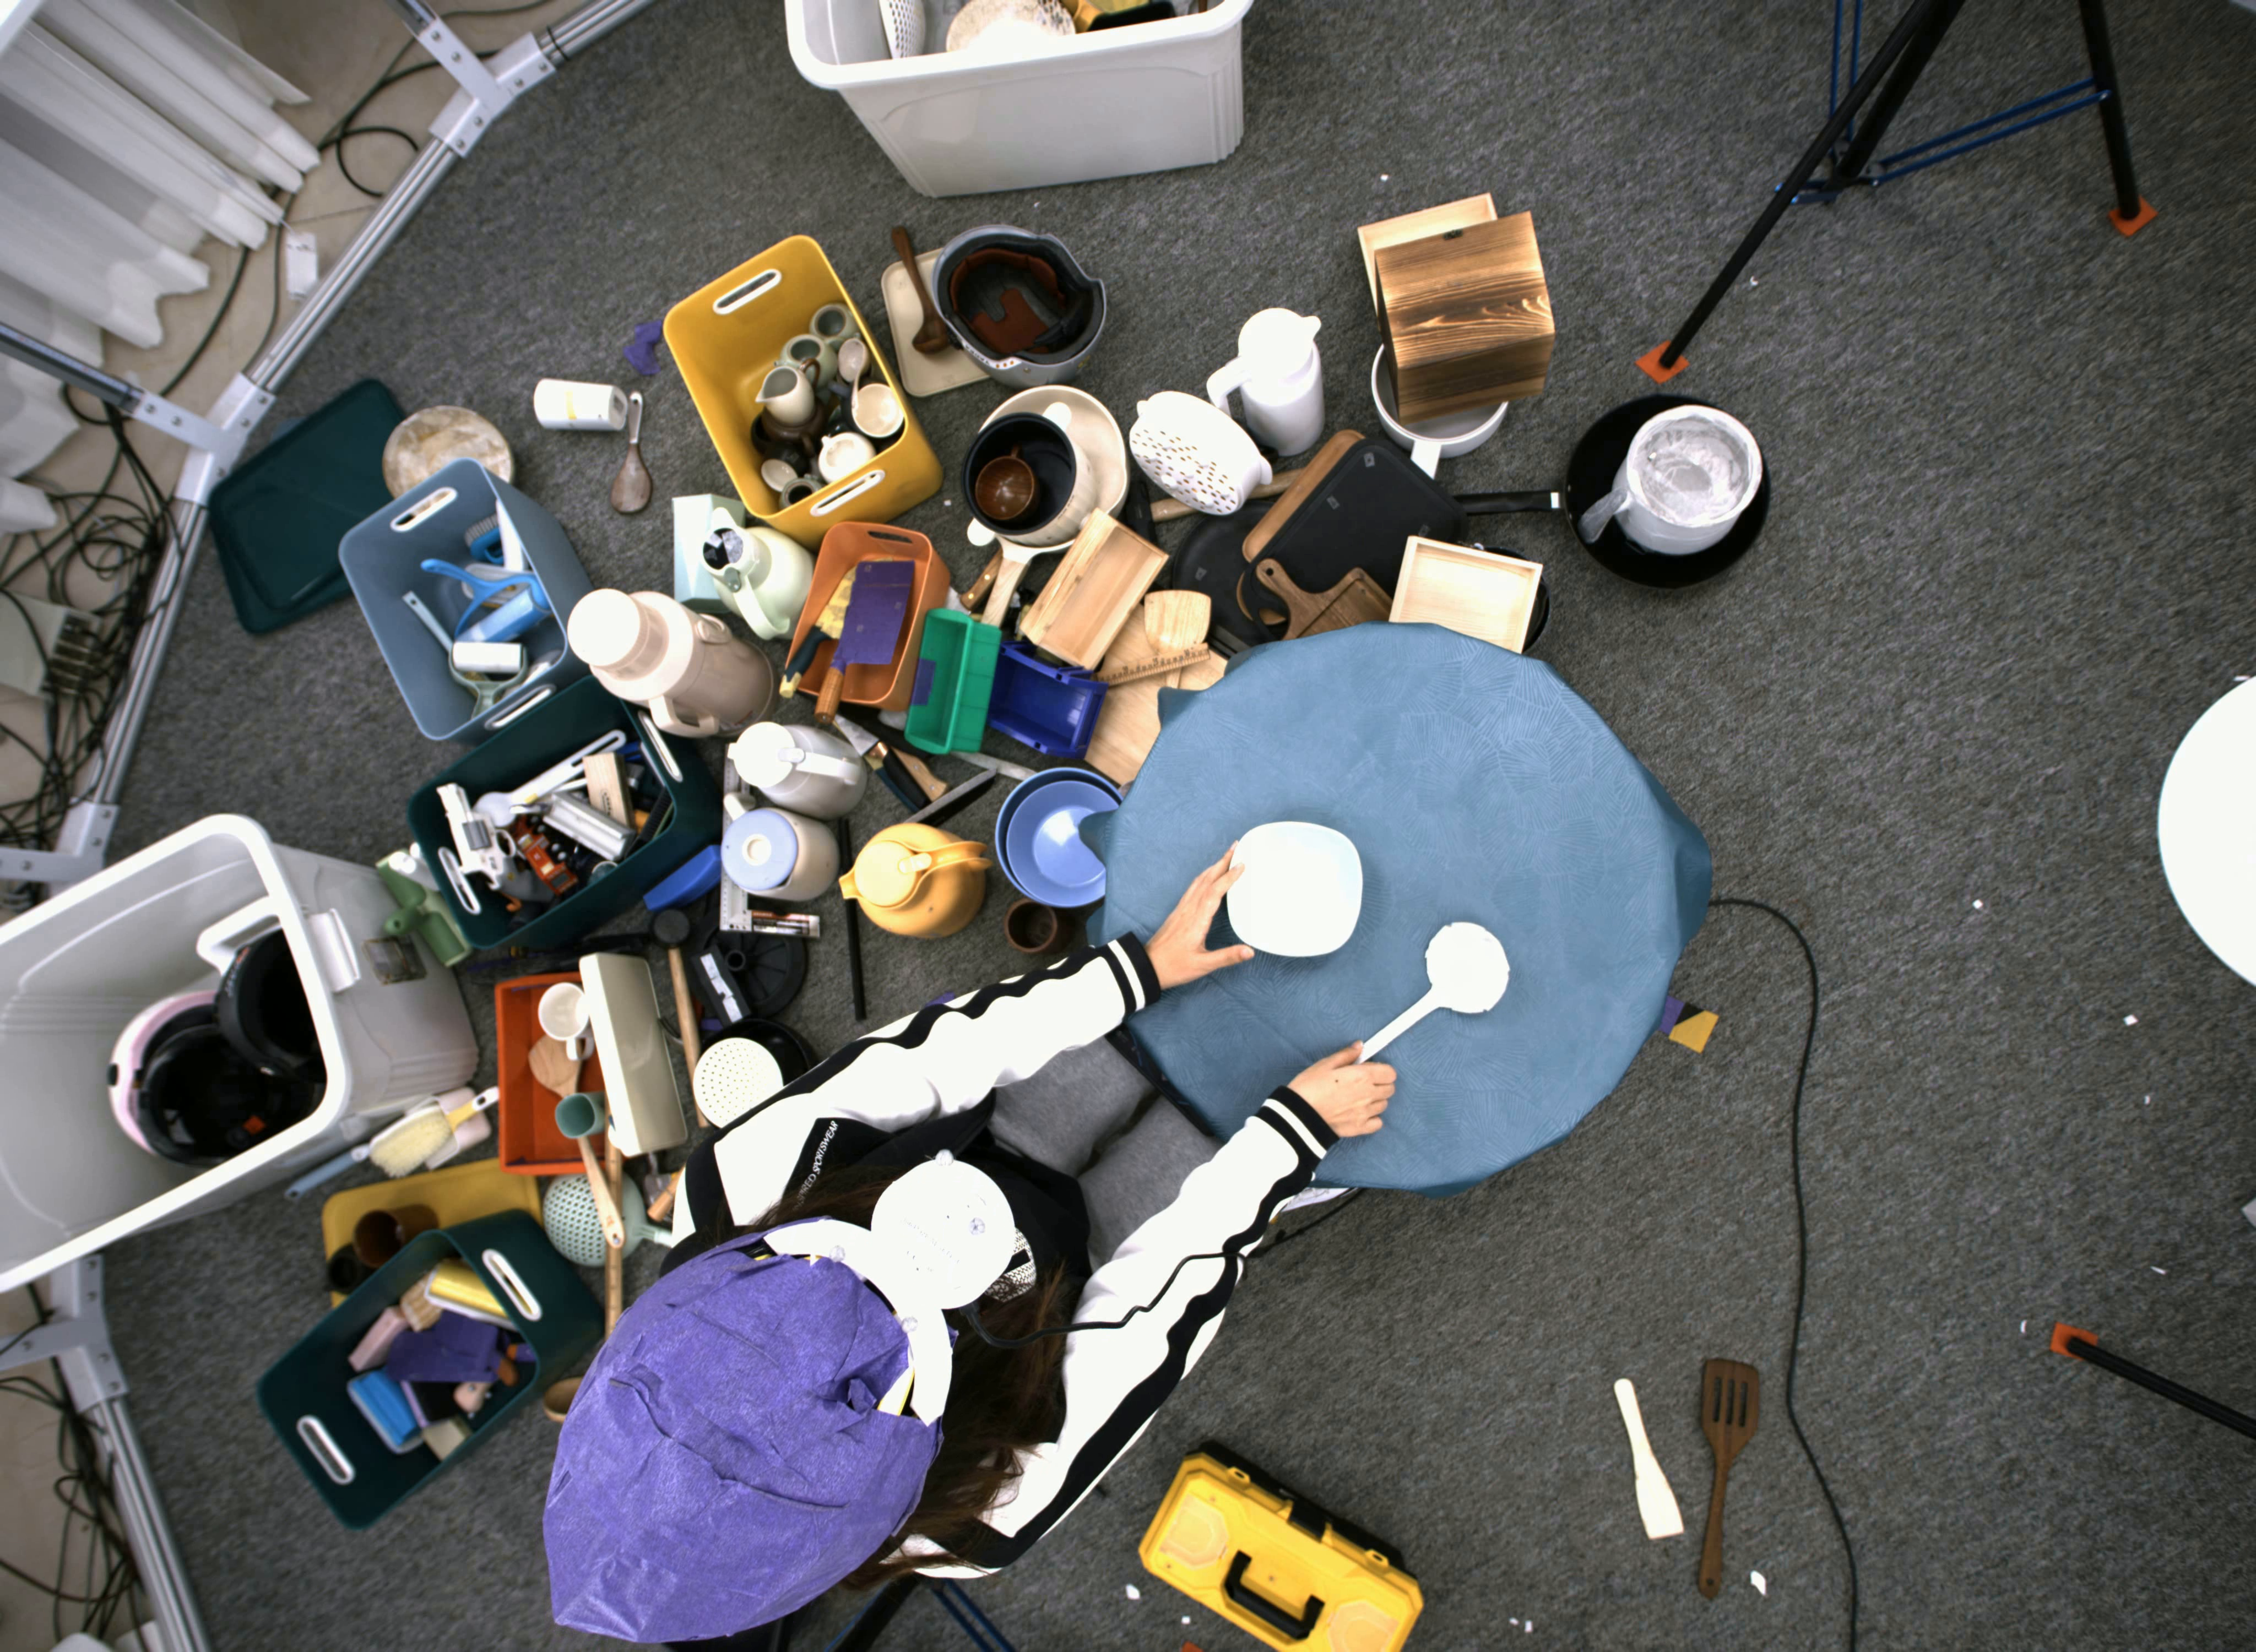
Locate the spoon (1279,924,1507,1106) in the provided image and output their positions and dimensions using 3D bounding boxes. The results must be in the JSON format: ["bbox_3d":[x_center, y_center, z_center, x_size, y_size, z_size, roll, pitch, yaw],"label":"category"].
[{"bbox_3d":[0.264,0.199,1.425,0.279,0.060,0.099,-35,66,7],"label":"spoon"}]

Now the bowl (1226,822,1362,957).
[{"bbox_3d":[0.175,0.067,1.451,0.152,0.058,0.151,-1,86,10],"label":"bowl"}]
